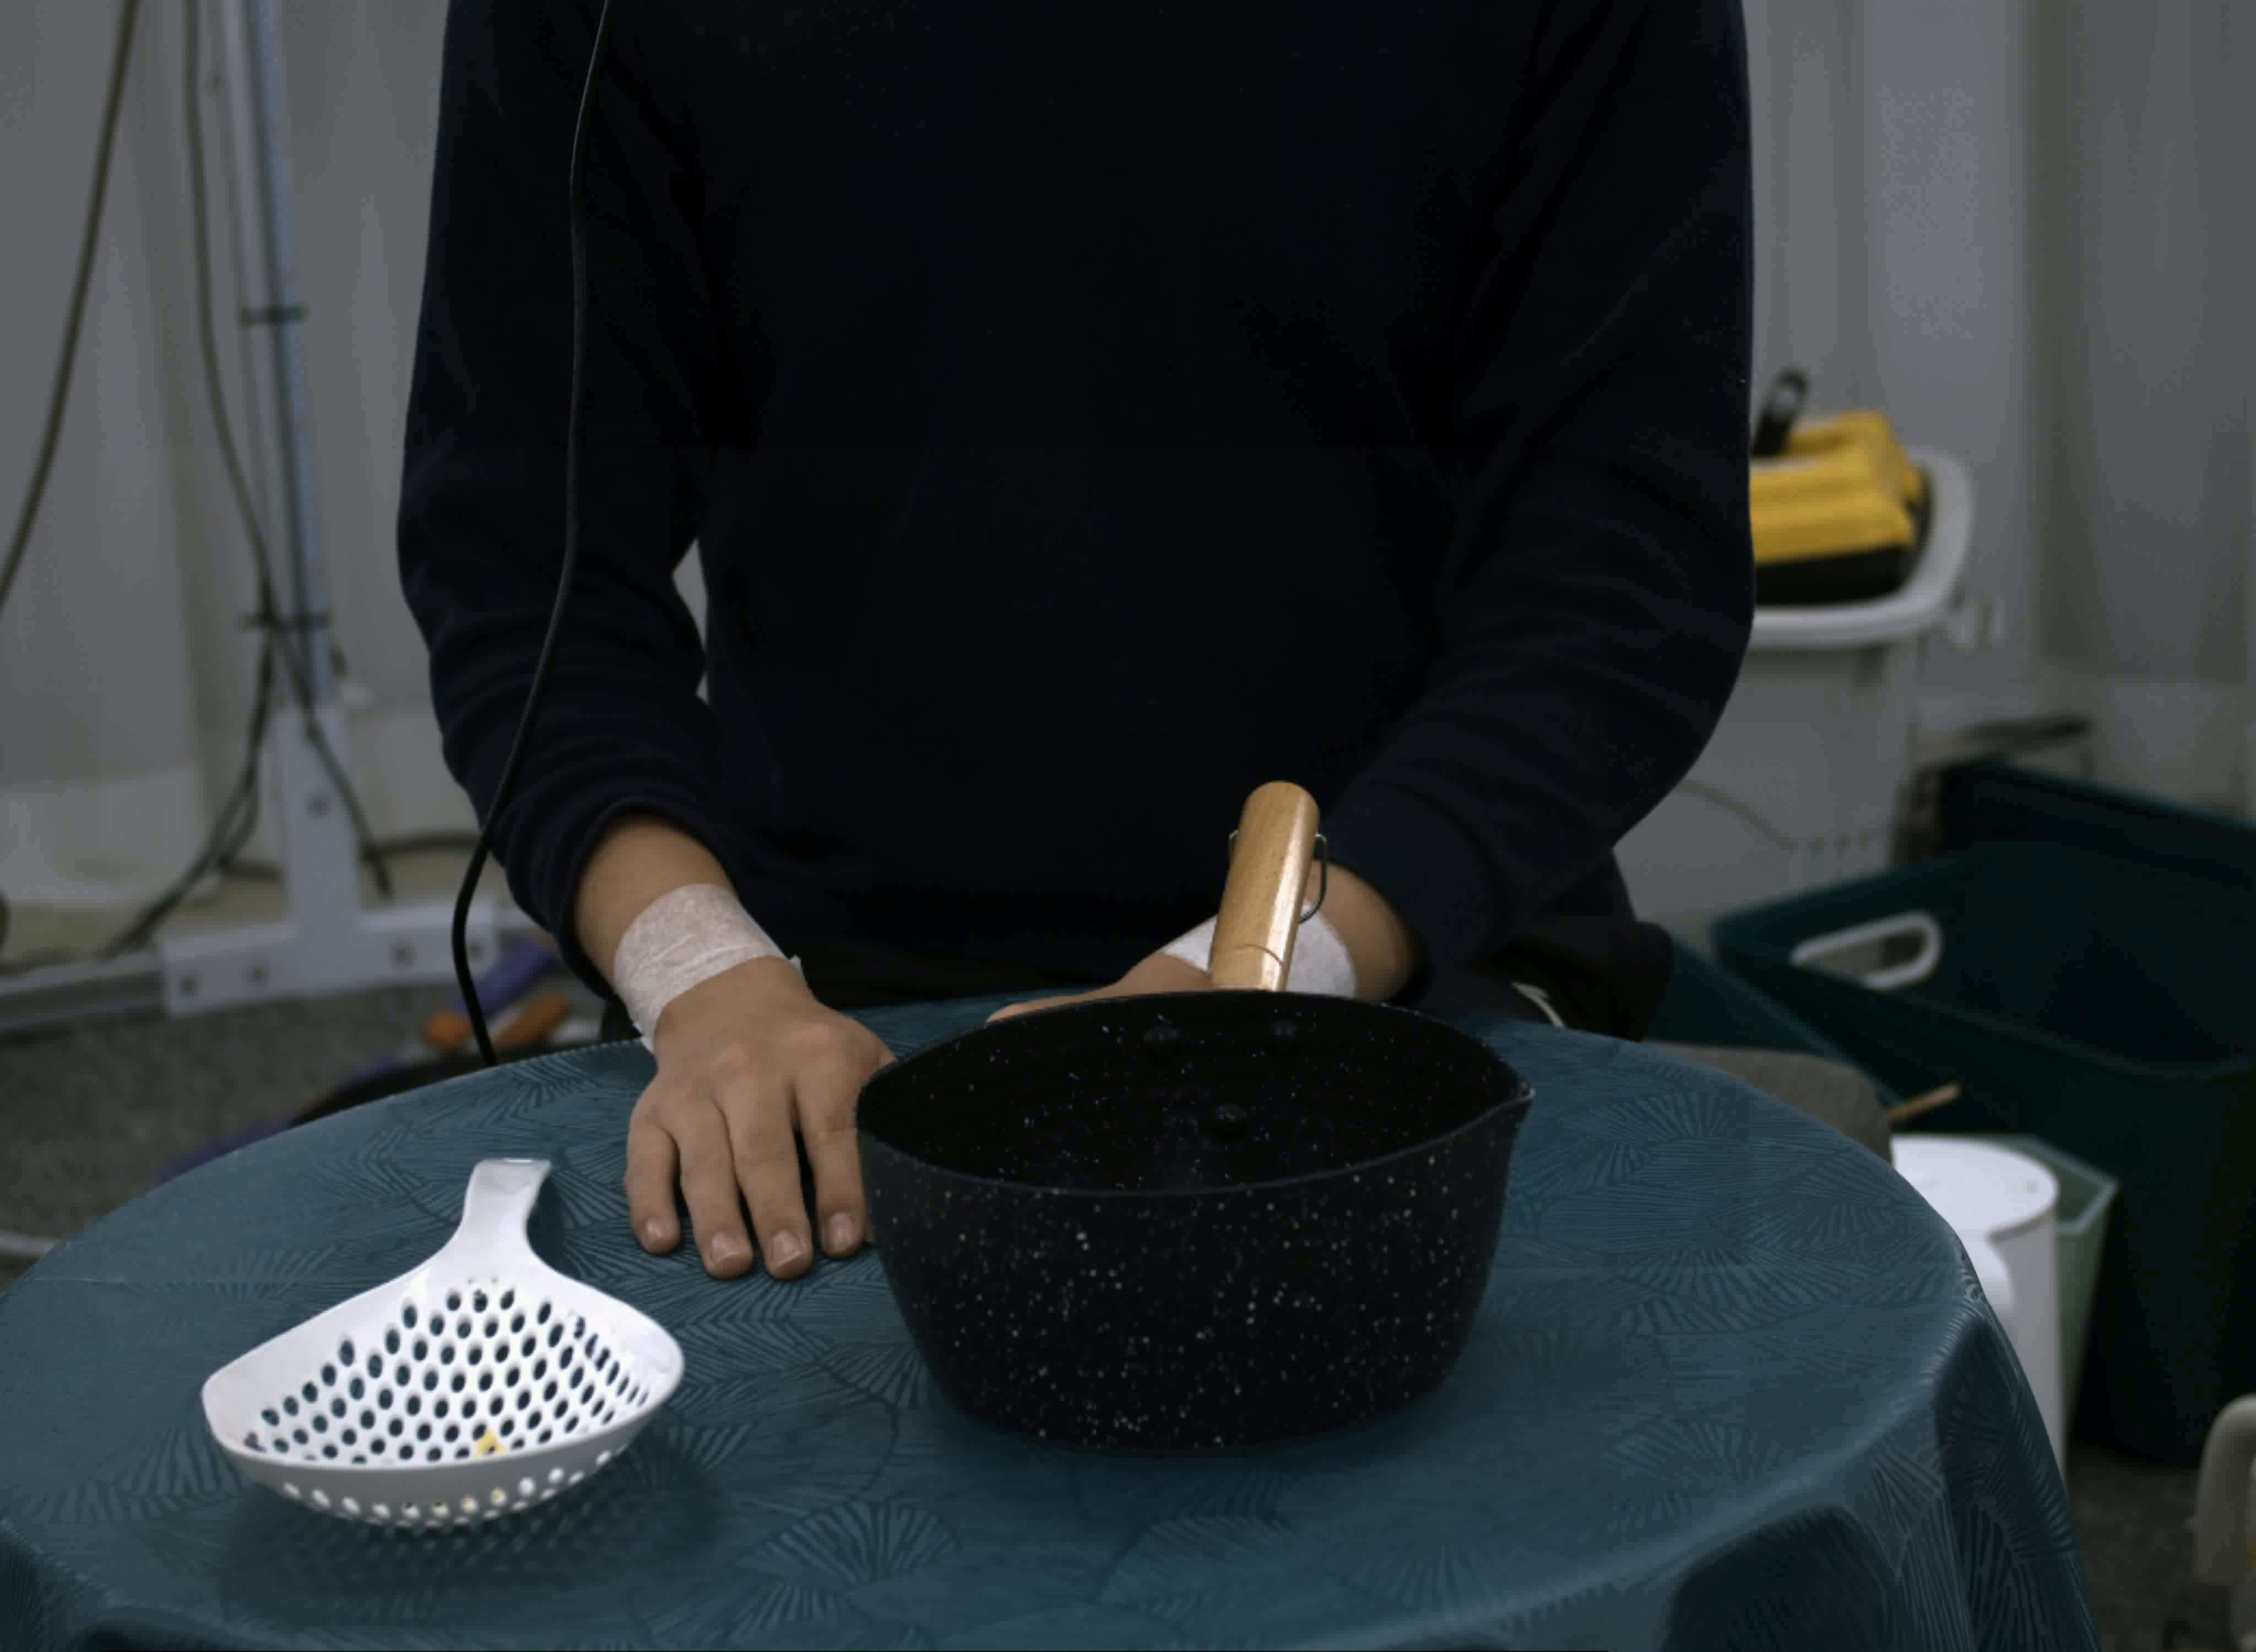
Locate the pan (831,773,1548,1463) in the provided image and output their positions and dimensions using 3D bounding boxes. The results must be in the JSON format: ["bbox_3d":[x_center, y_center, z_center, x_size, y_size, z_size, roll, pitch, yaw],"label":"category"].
[{"bbox_3d":[0.027,0.081,1.627,0.207,0.108,0.345,-2,16,8],"label":"pan"}]

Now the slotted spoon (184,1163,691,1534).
[{"bbox_3d":[-0.190,0.137,1.588,0.136,0.050,0.350,-5,17,-1],"label":"slotted spoon"}]
